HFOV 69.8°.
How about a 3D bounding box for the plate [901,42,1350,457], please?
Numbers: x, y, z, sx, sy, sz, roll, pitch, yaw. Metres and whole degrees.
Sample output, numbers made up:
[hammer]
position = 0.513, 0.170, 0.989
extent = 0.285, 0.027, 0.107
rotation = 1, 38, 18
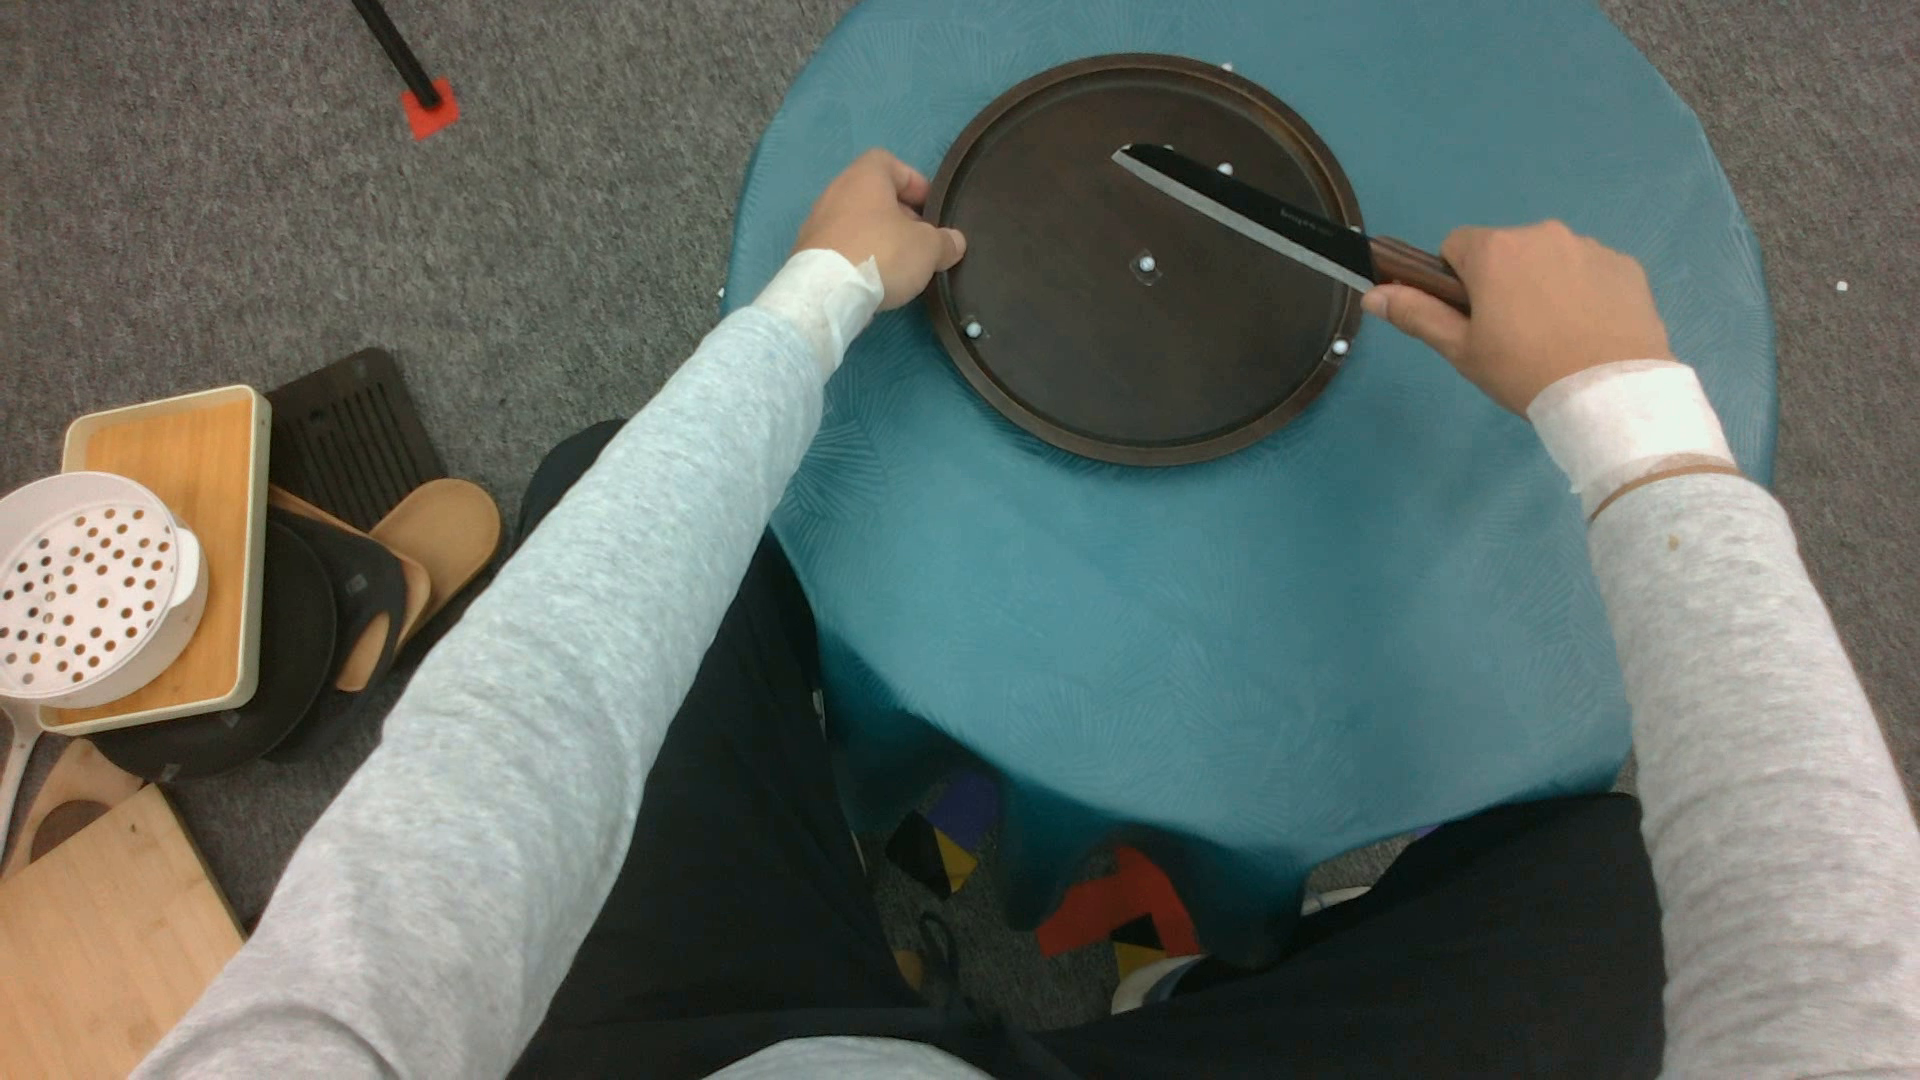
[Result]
[plate]
position = 0.093, -0.166, 0.778
extent = 0.255, 0.029, 0.255
rotation = 1, 76, -3

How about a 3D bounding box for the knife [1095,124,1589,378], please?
[knife]
position = 0.183, -0.155, 0.709
extent = 0.289, 0.050, 0.020
rotation = 33, 73, 26
